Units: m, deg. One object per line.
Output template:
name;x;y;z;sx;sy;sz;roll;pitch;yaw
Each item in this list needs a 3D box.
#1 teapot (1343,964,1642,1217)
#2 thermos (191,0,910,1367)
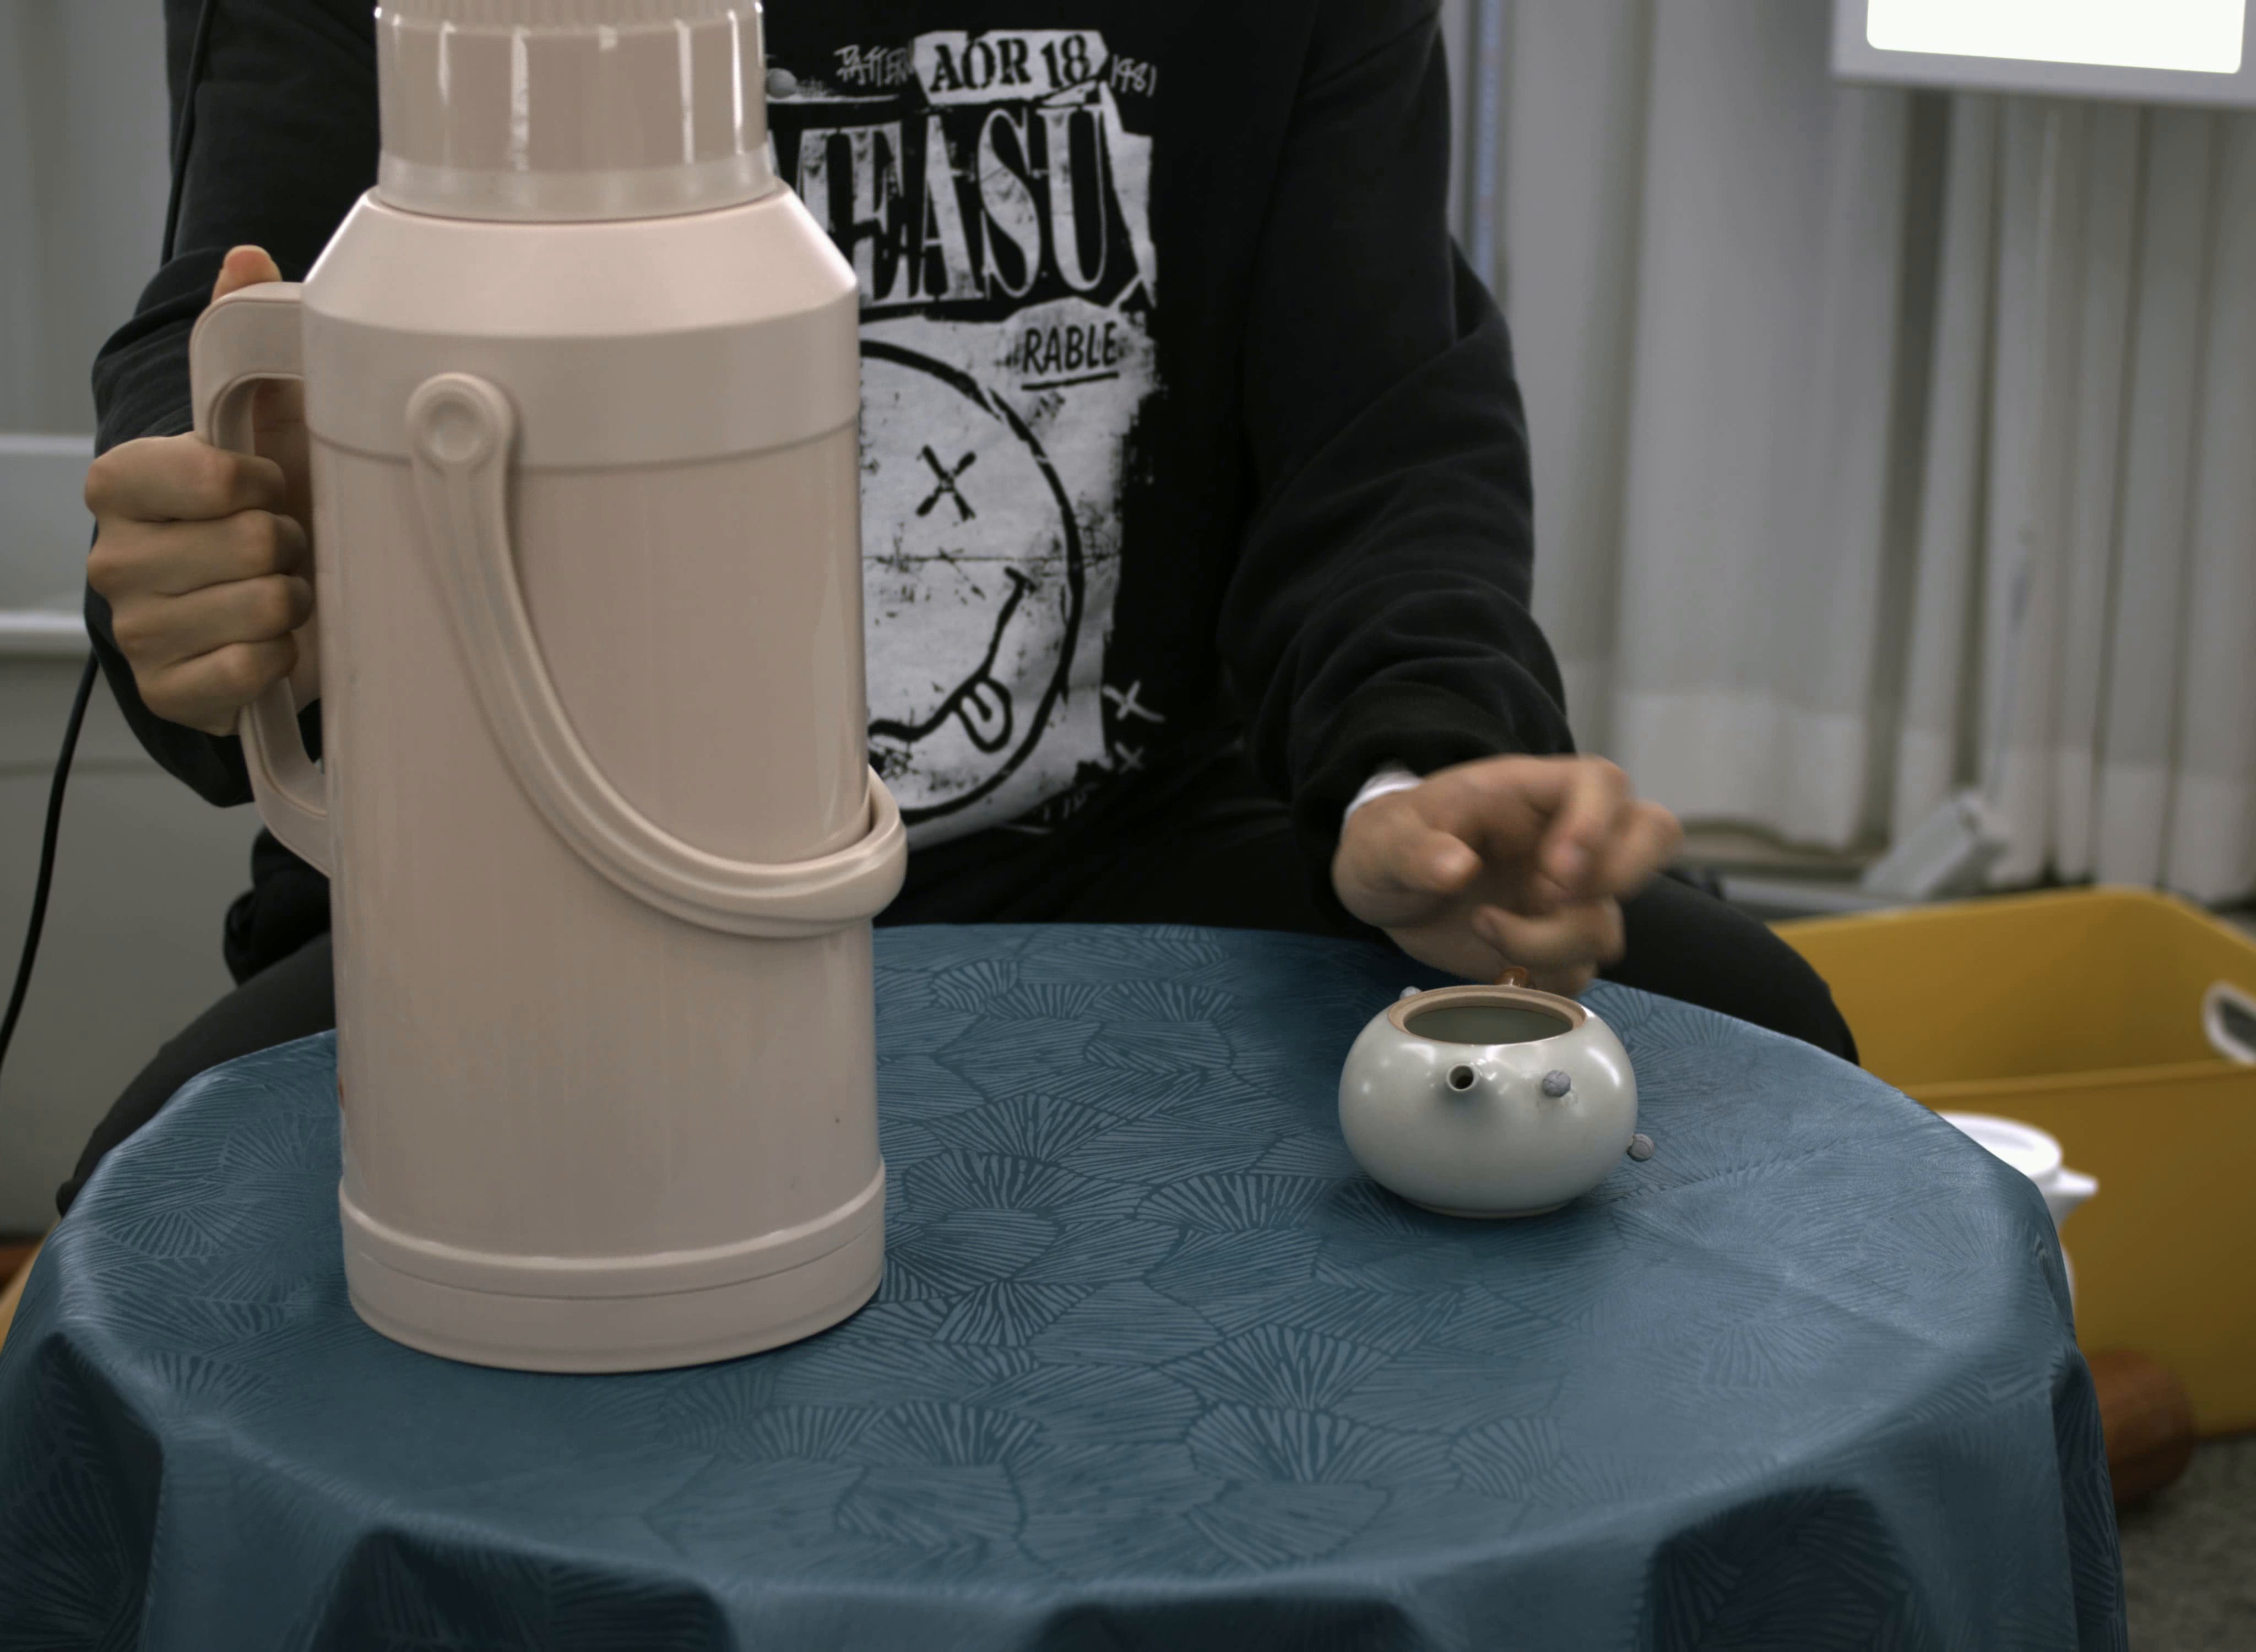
teapot;0.113;0.081;1.626;0.091;0.060;0.128;0;16;11
thermos;-0.164;-0.061;1.495;0.205;0.410;0.175;4;19;15
